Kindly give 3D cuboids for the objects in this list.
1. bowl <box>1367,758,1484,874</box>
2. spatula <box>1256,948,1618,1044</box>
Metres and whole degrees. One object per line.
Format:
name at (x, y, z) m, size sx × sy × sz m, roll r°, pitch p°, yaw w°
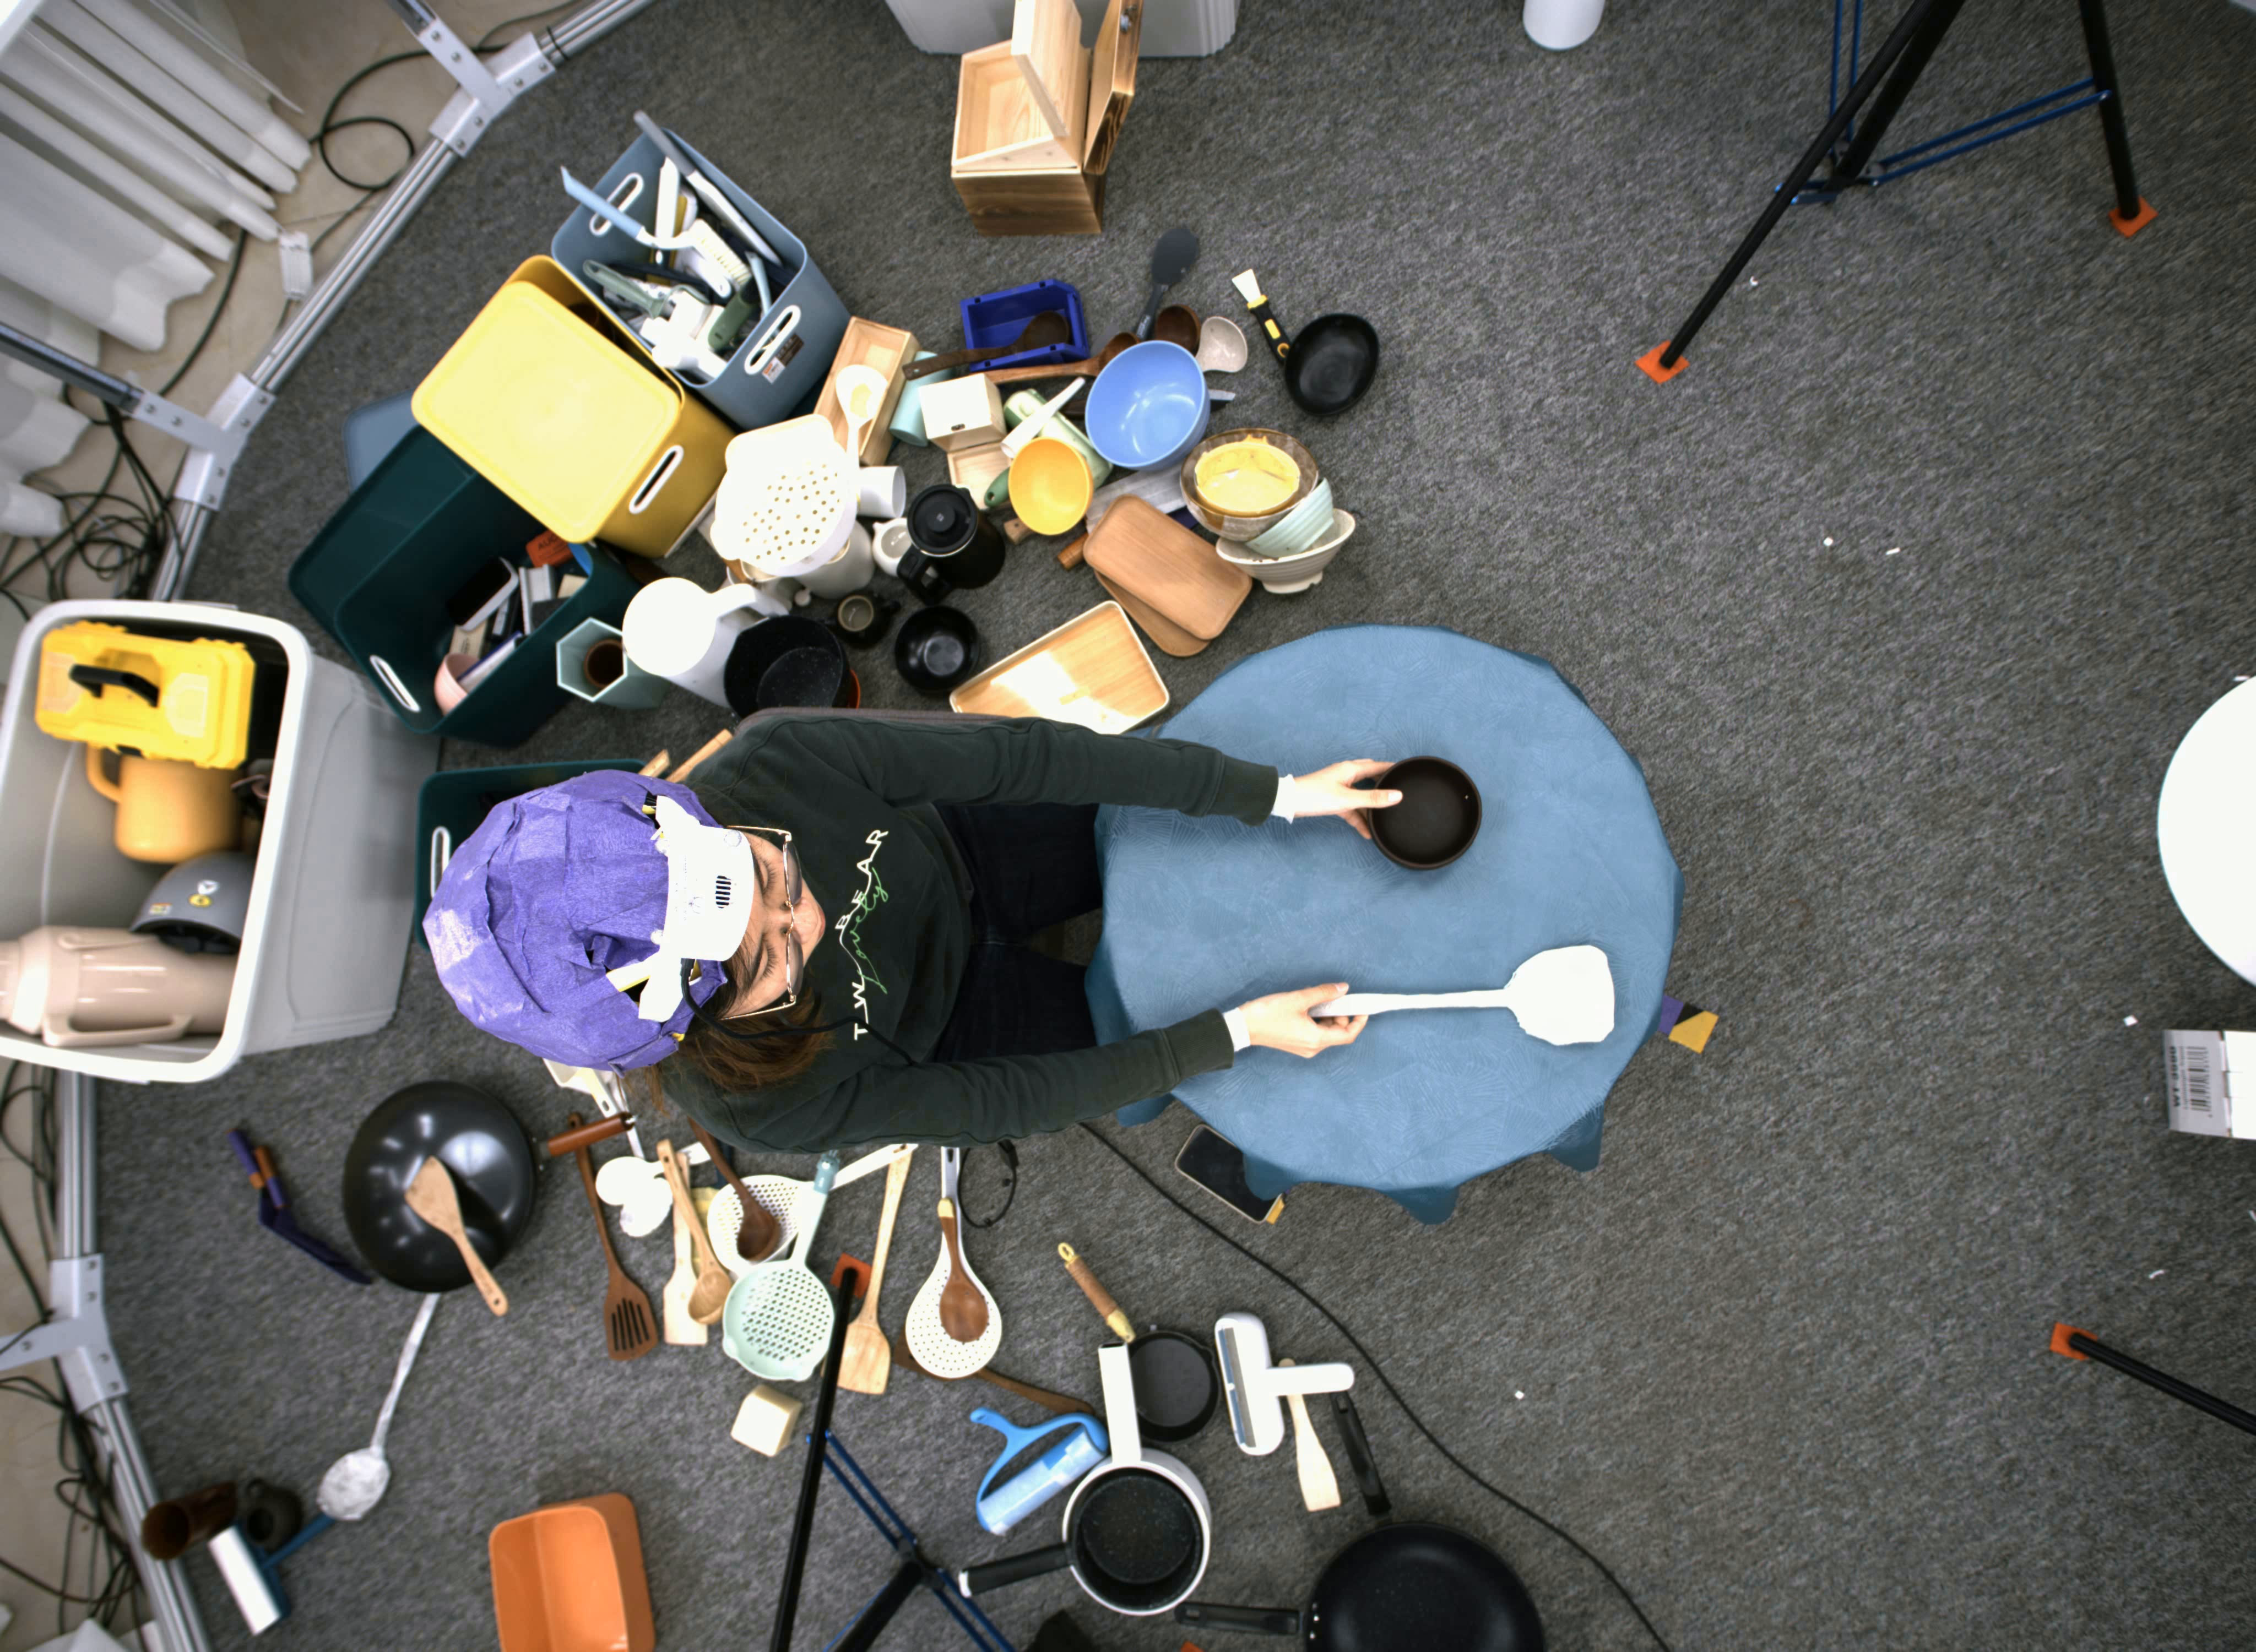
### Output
bowl at (0.307, -0.009, 1.427) m, size 0.118 × 0.070 × 0.117 m, roll -1°, pitch 84°, yaw 10°
spatula at (0.314, 0.176, 1.419) m, size 0.366 × 0.045 × 0.098 m, roll -2°, pitch 84°, yaw 4°
